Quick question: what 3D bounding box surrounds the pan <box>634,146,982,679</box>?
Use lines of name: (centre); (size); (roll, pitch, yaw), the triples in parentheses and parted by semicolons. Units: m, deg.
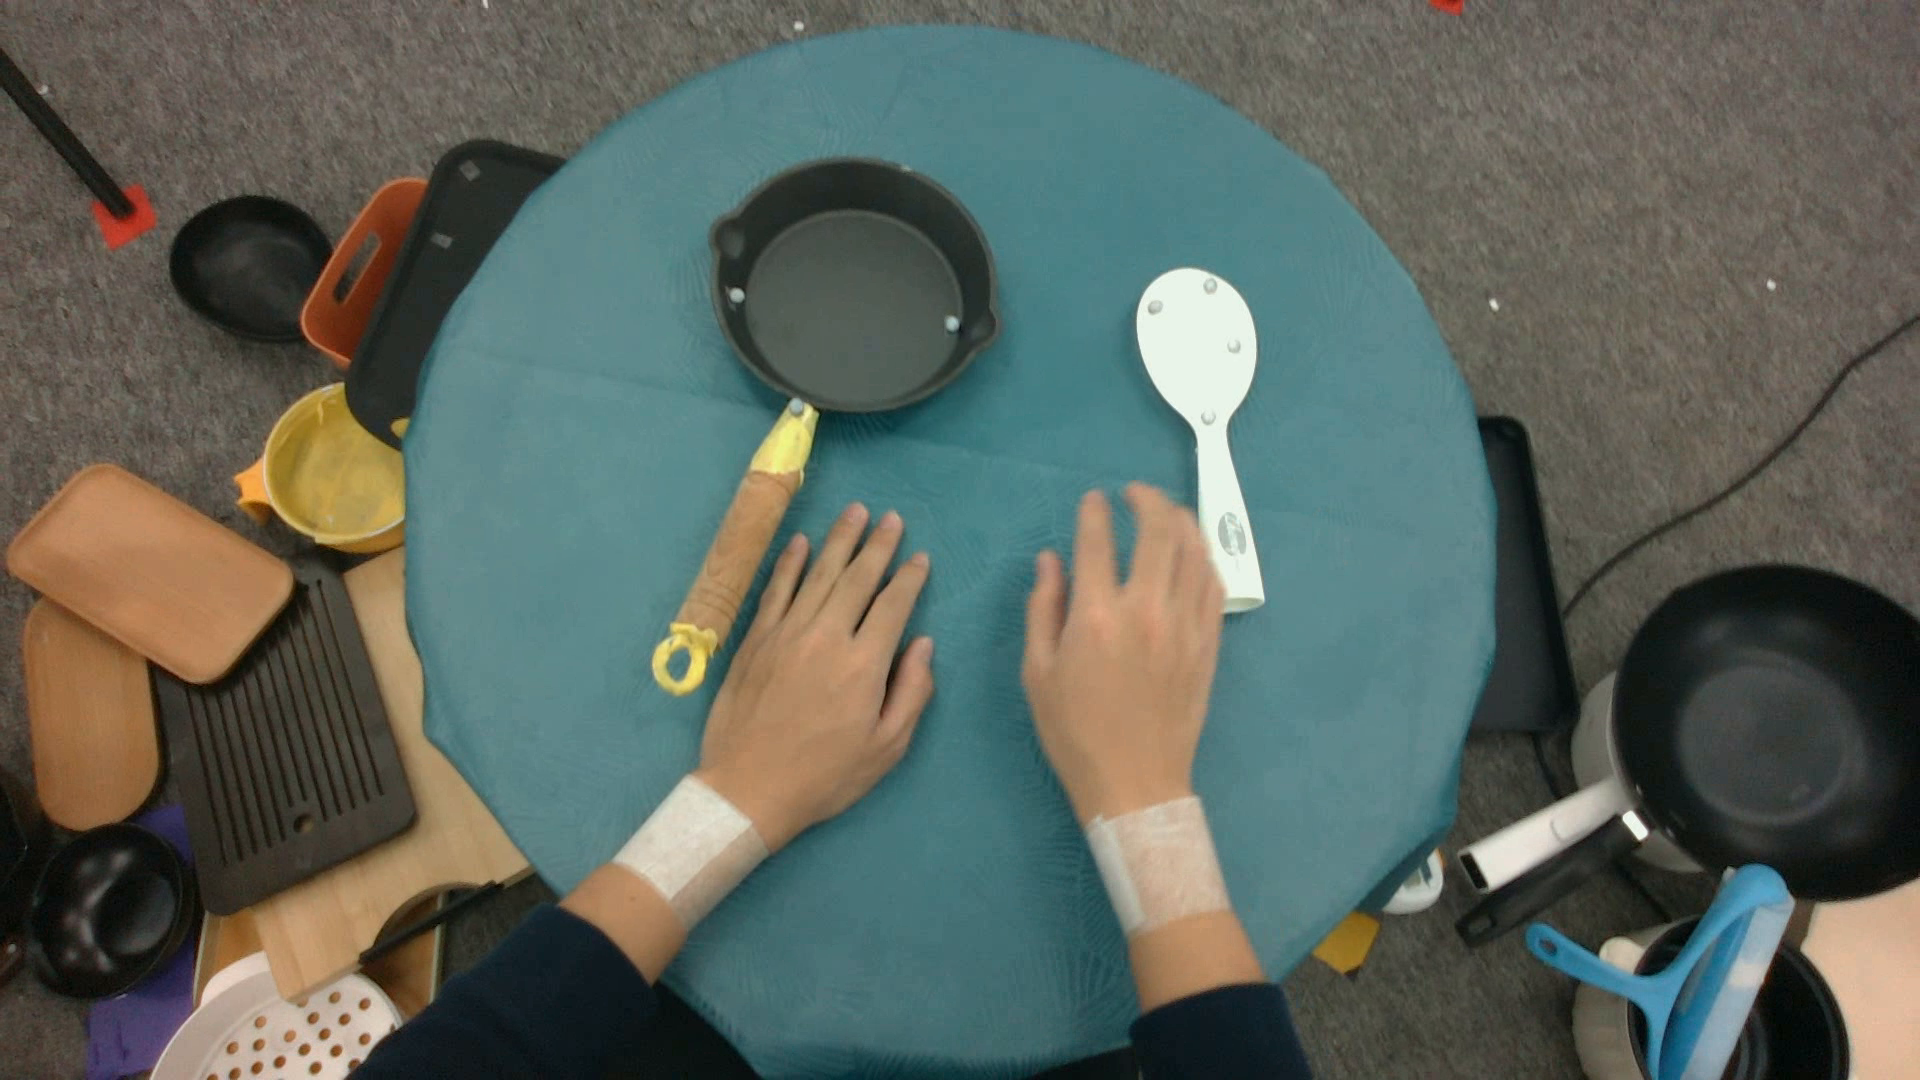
pan: (-0.098, -0.073, 0.732); (0.169, 0.049, 0.325); (21, 68, 1)

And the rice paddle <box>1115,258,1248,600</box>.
rice paddle: (0.128, -0.069, 0.769); (0.069, 0.029, 0.206); (-3, 71, -9)
